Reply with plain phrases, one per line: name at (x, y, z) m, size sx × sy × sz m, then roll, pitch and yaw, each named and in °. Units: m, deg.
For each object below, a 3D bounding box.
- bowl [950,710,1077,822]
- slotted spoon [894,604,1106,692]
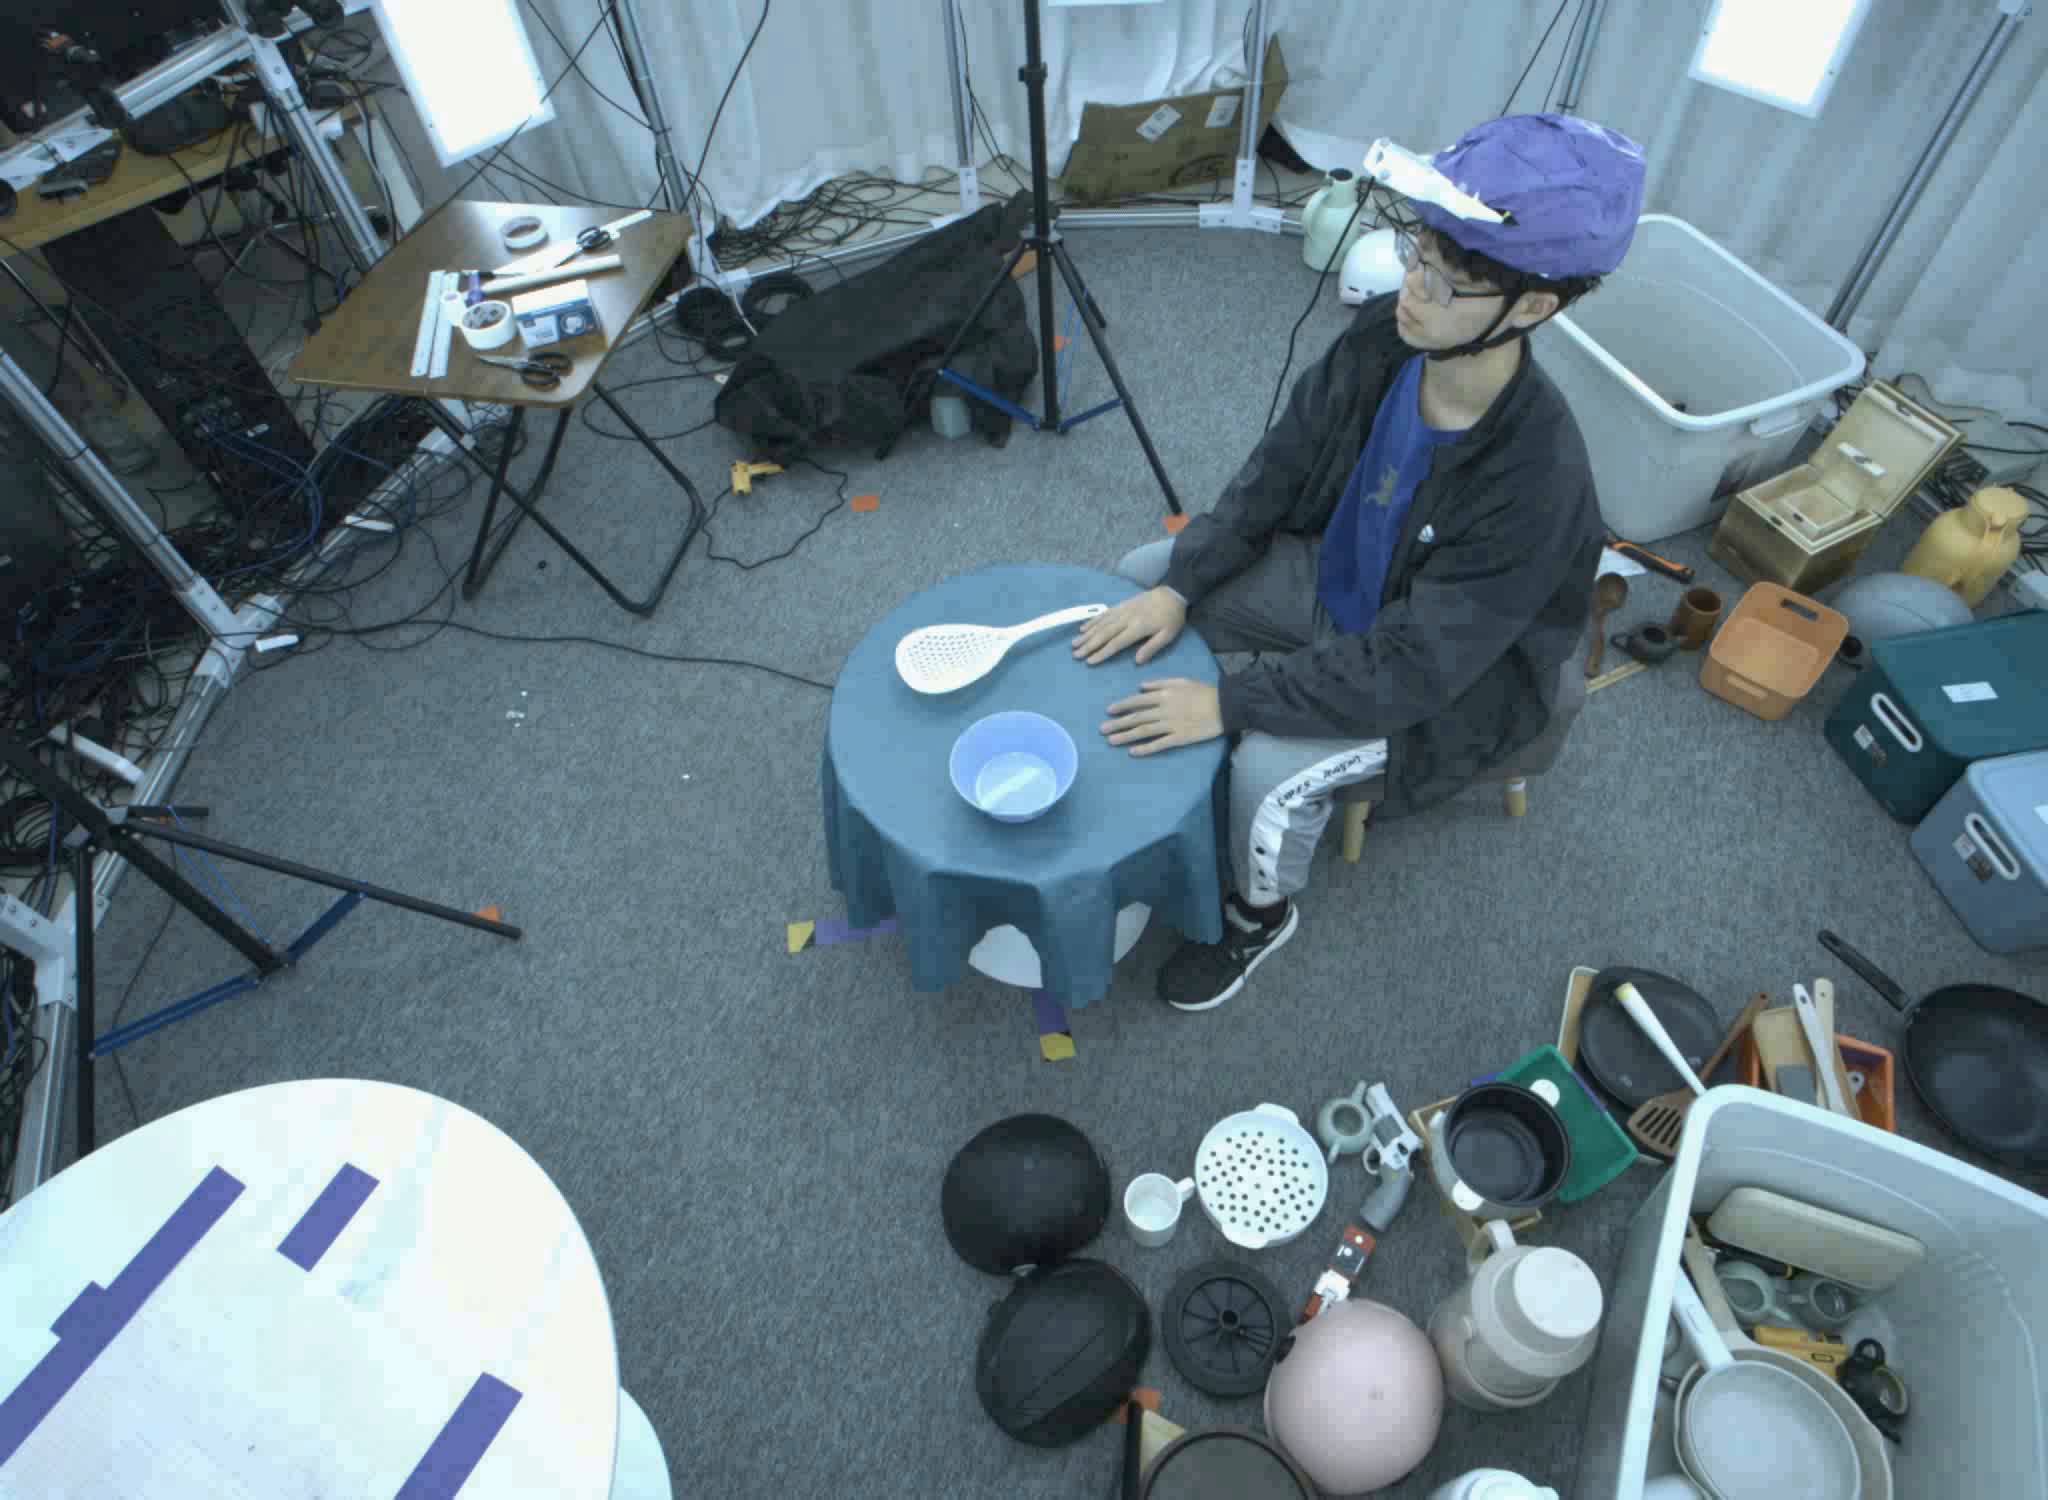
bowl at (-0.012, 0.033, 1.711) m, size 0.176 × 0.071 × 0.174 m, roll 0°, pitch 55°, yaw 2°
slotted spoon at (-0.027, -0.168, 1.874) m, size 0.350 × 0.051 × 0.134 m, roll -23°, pitch 53°, yaw -14°
